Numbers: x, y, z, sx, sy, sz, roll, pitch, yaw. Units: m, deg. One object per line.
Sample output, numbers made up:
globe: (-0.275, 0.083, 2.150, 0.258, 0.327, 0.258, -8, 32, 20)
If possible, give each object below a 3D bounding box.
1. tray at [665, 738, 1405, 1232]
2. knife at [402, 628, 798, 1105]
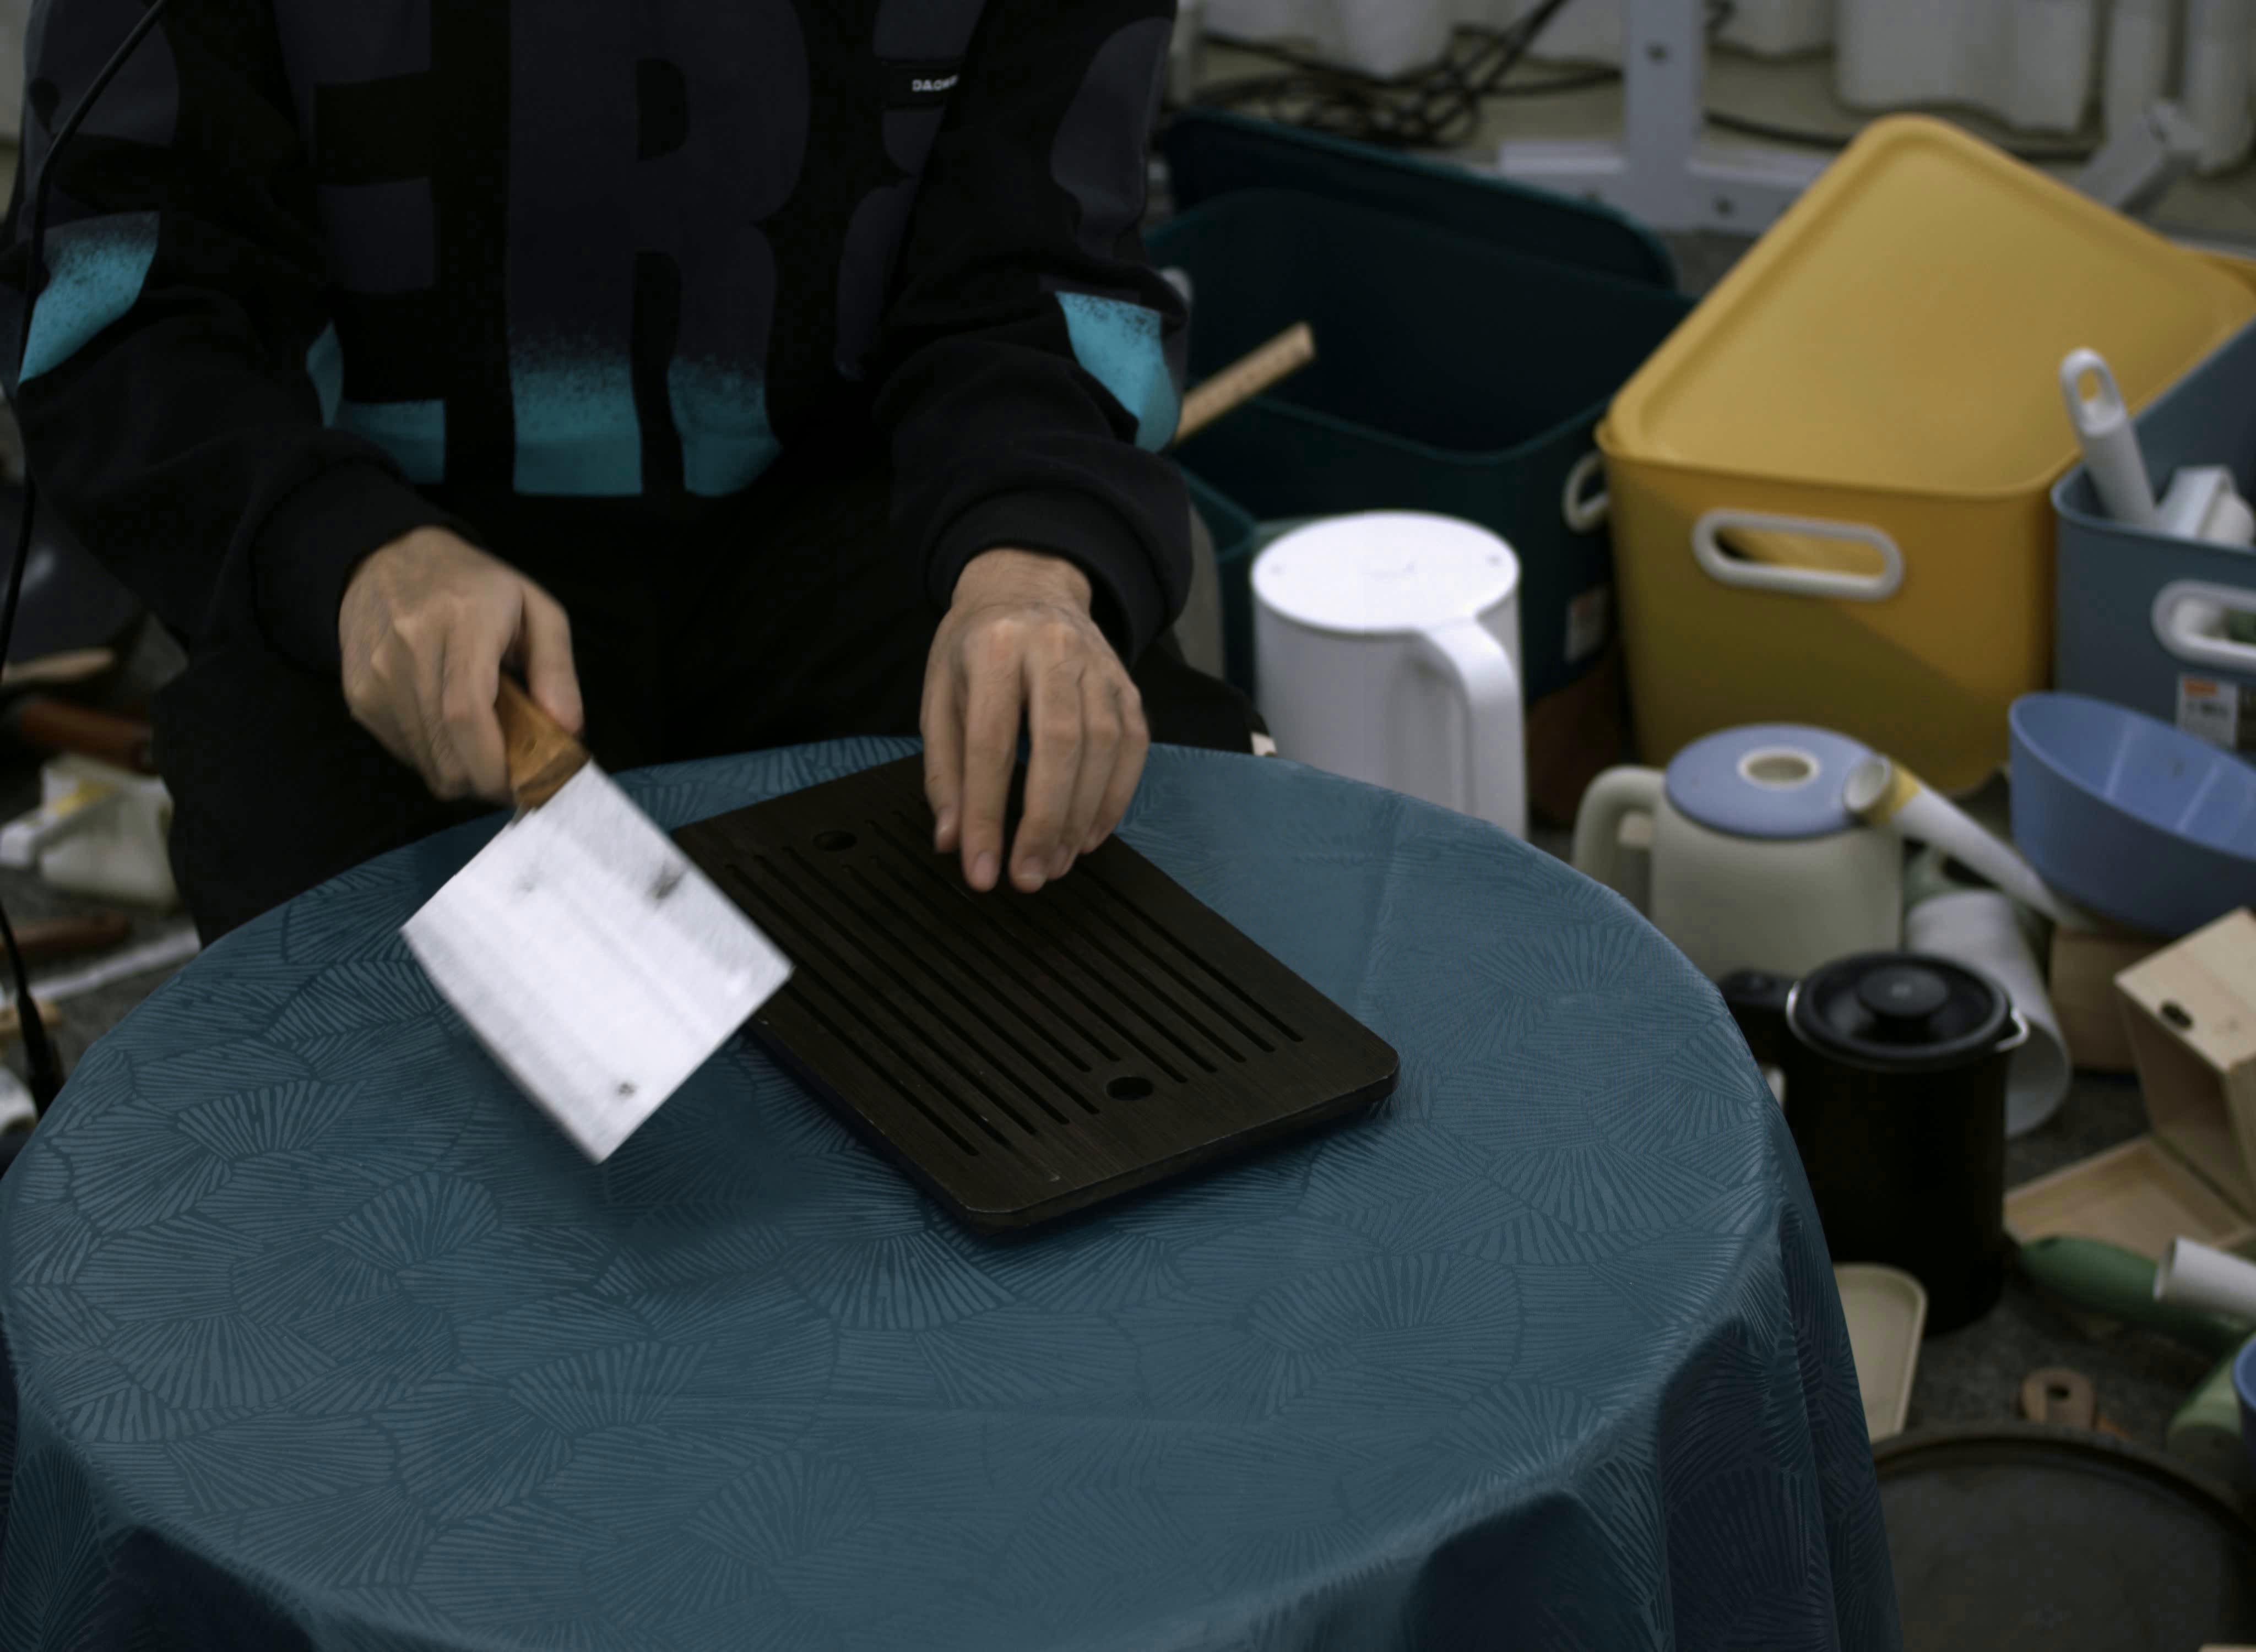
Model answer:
tray: (-0.049, 0.053, 1.980, 0.171, 0.018, 0.307, -17, 31, -25)
knife: (-0.202, 0.015, 1.944, 0.093, 0.021, 0.307, -47, 36, -2)
